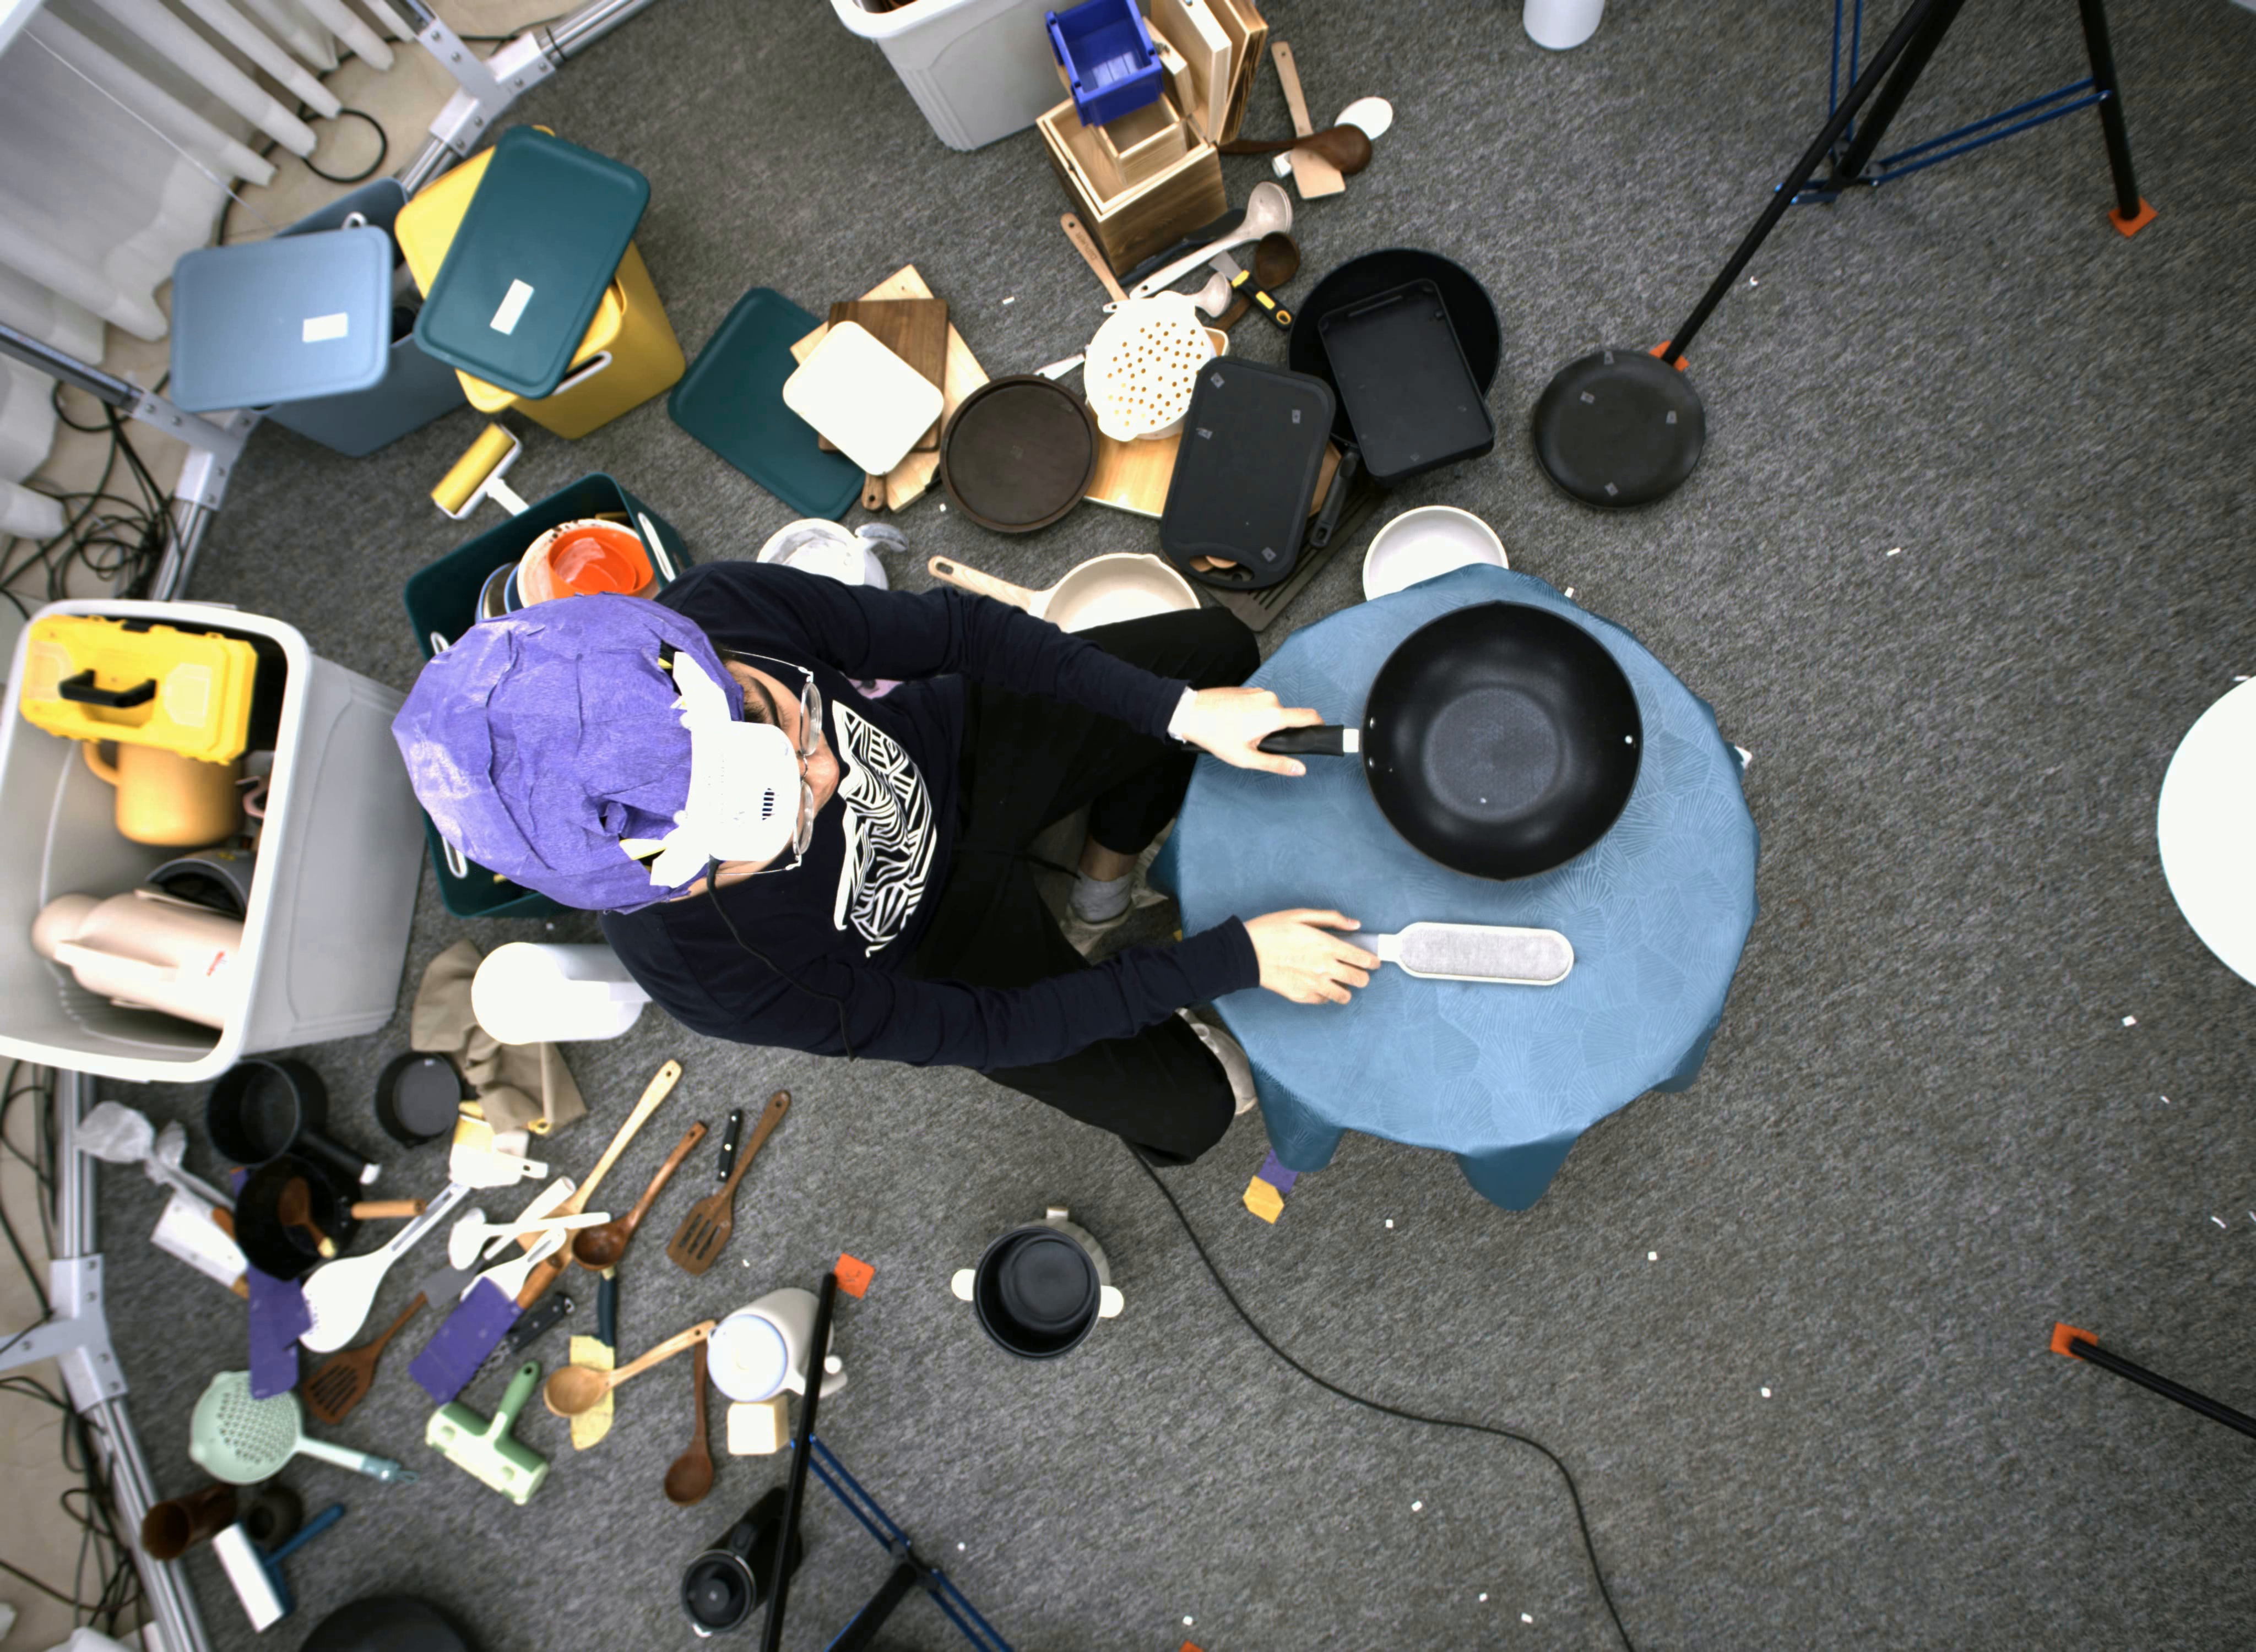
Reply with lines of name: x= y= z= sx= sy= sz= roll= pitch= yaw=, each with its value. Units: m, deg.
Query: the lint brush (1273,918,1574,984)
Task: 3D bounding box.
lint brush: x=0.305 y=0.124 z=1.435 sx=0.310 sy=0.021 sz=0.060 roll=3 pitch=94 yaw=10

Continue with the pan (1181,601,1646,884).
pan: x=0.288 y=-0.085 z=1.423 sx=0.465 sy=0.087 sz=0.287 roll=1 pitch=86 yaw=11
